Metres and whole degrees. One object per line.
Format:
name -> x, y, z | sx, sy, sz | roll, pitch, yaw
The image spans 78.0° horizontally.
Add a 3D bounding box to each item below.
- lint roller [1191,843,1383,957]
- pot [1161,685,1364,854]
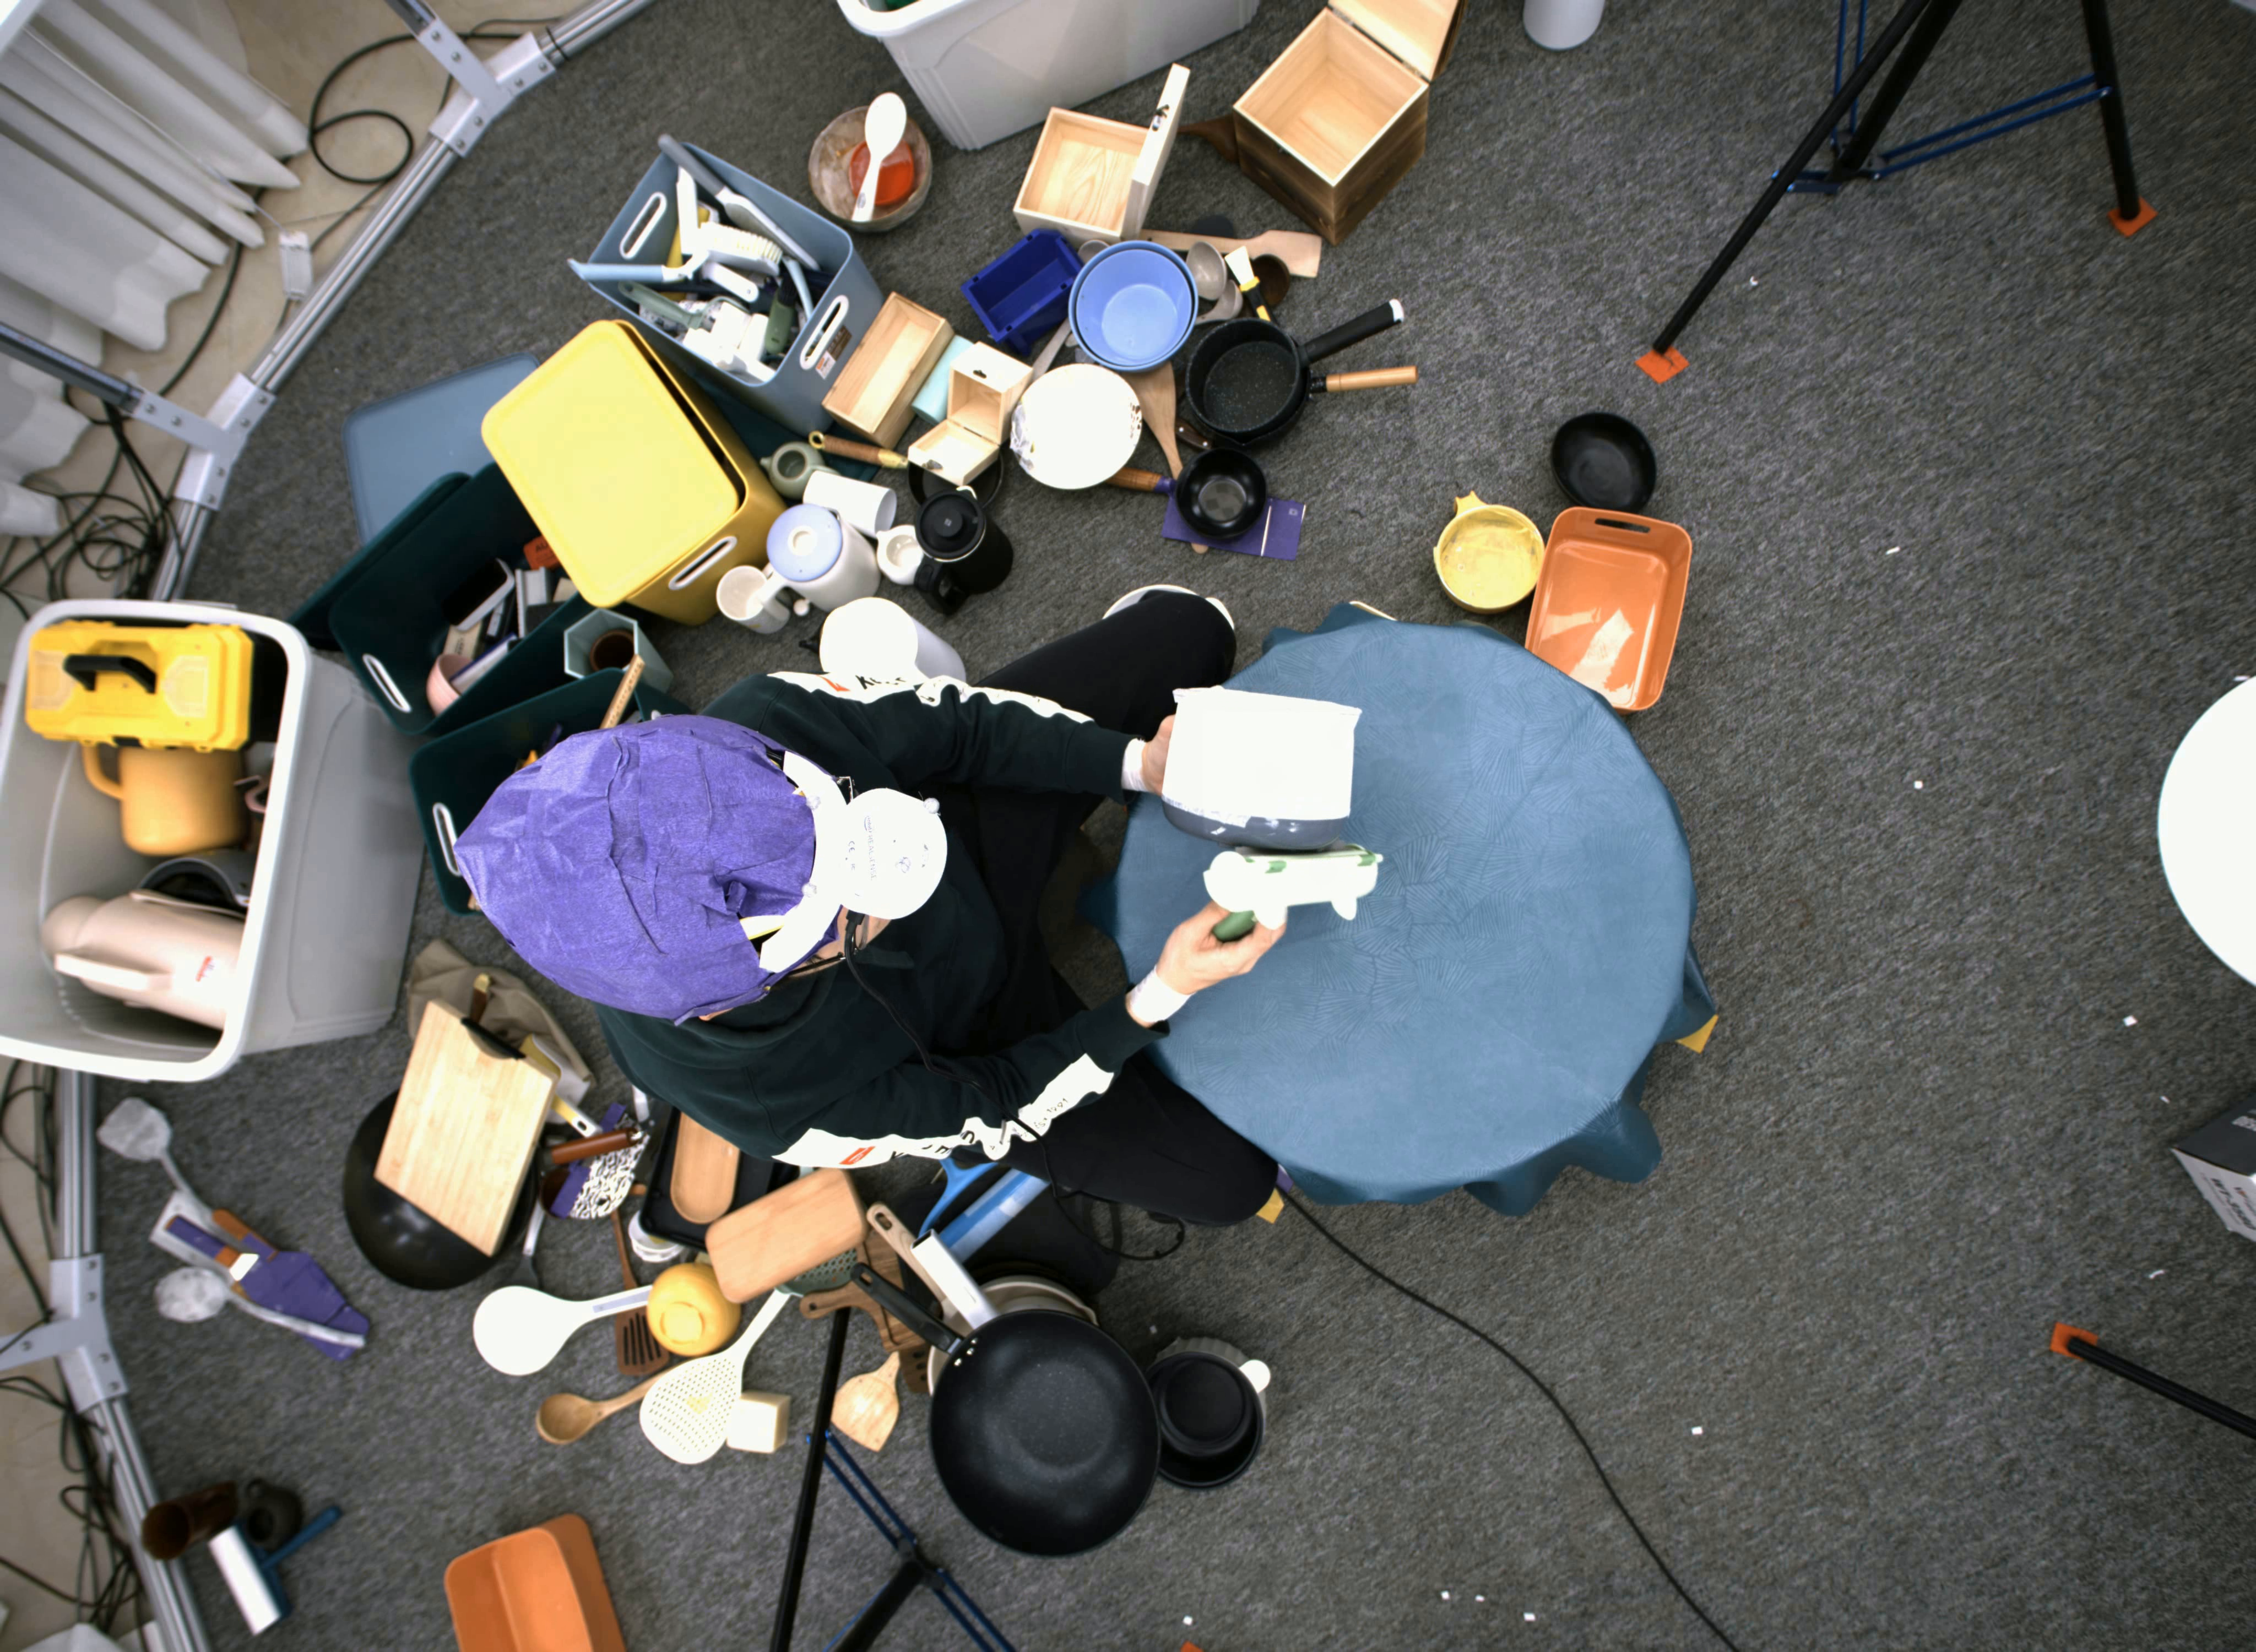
lint roller -> 0.130, 0.089, 1.307 | 0.187, 0.197, 0.081 | -50, 59, 35
pot -> 0.111, -0.059, 1.312 | 0.178, 0.232, 0.138 | 1, 102, -25
